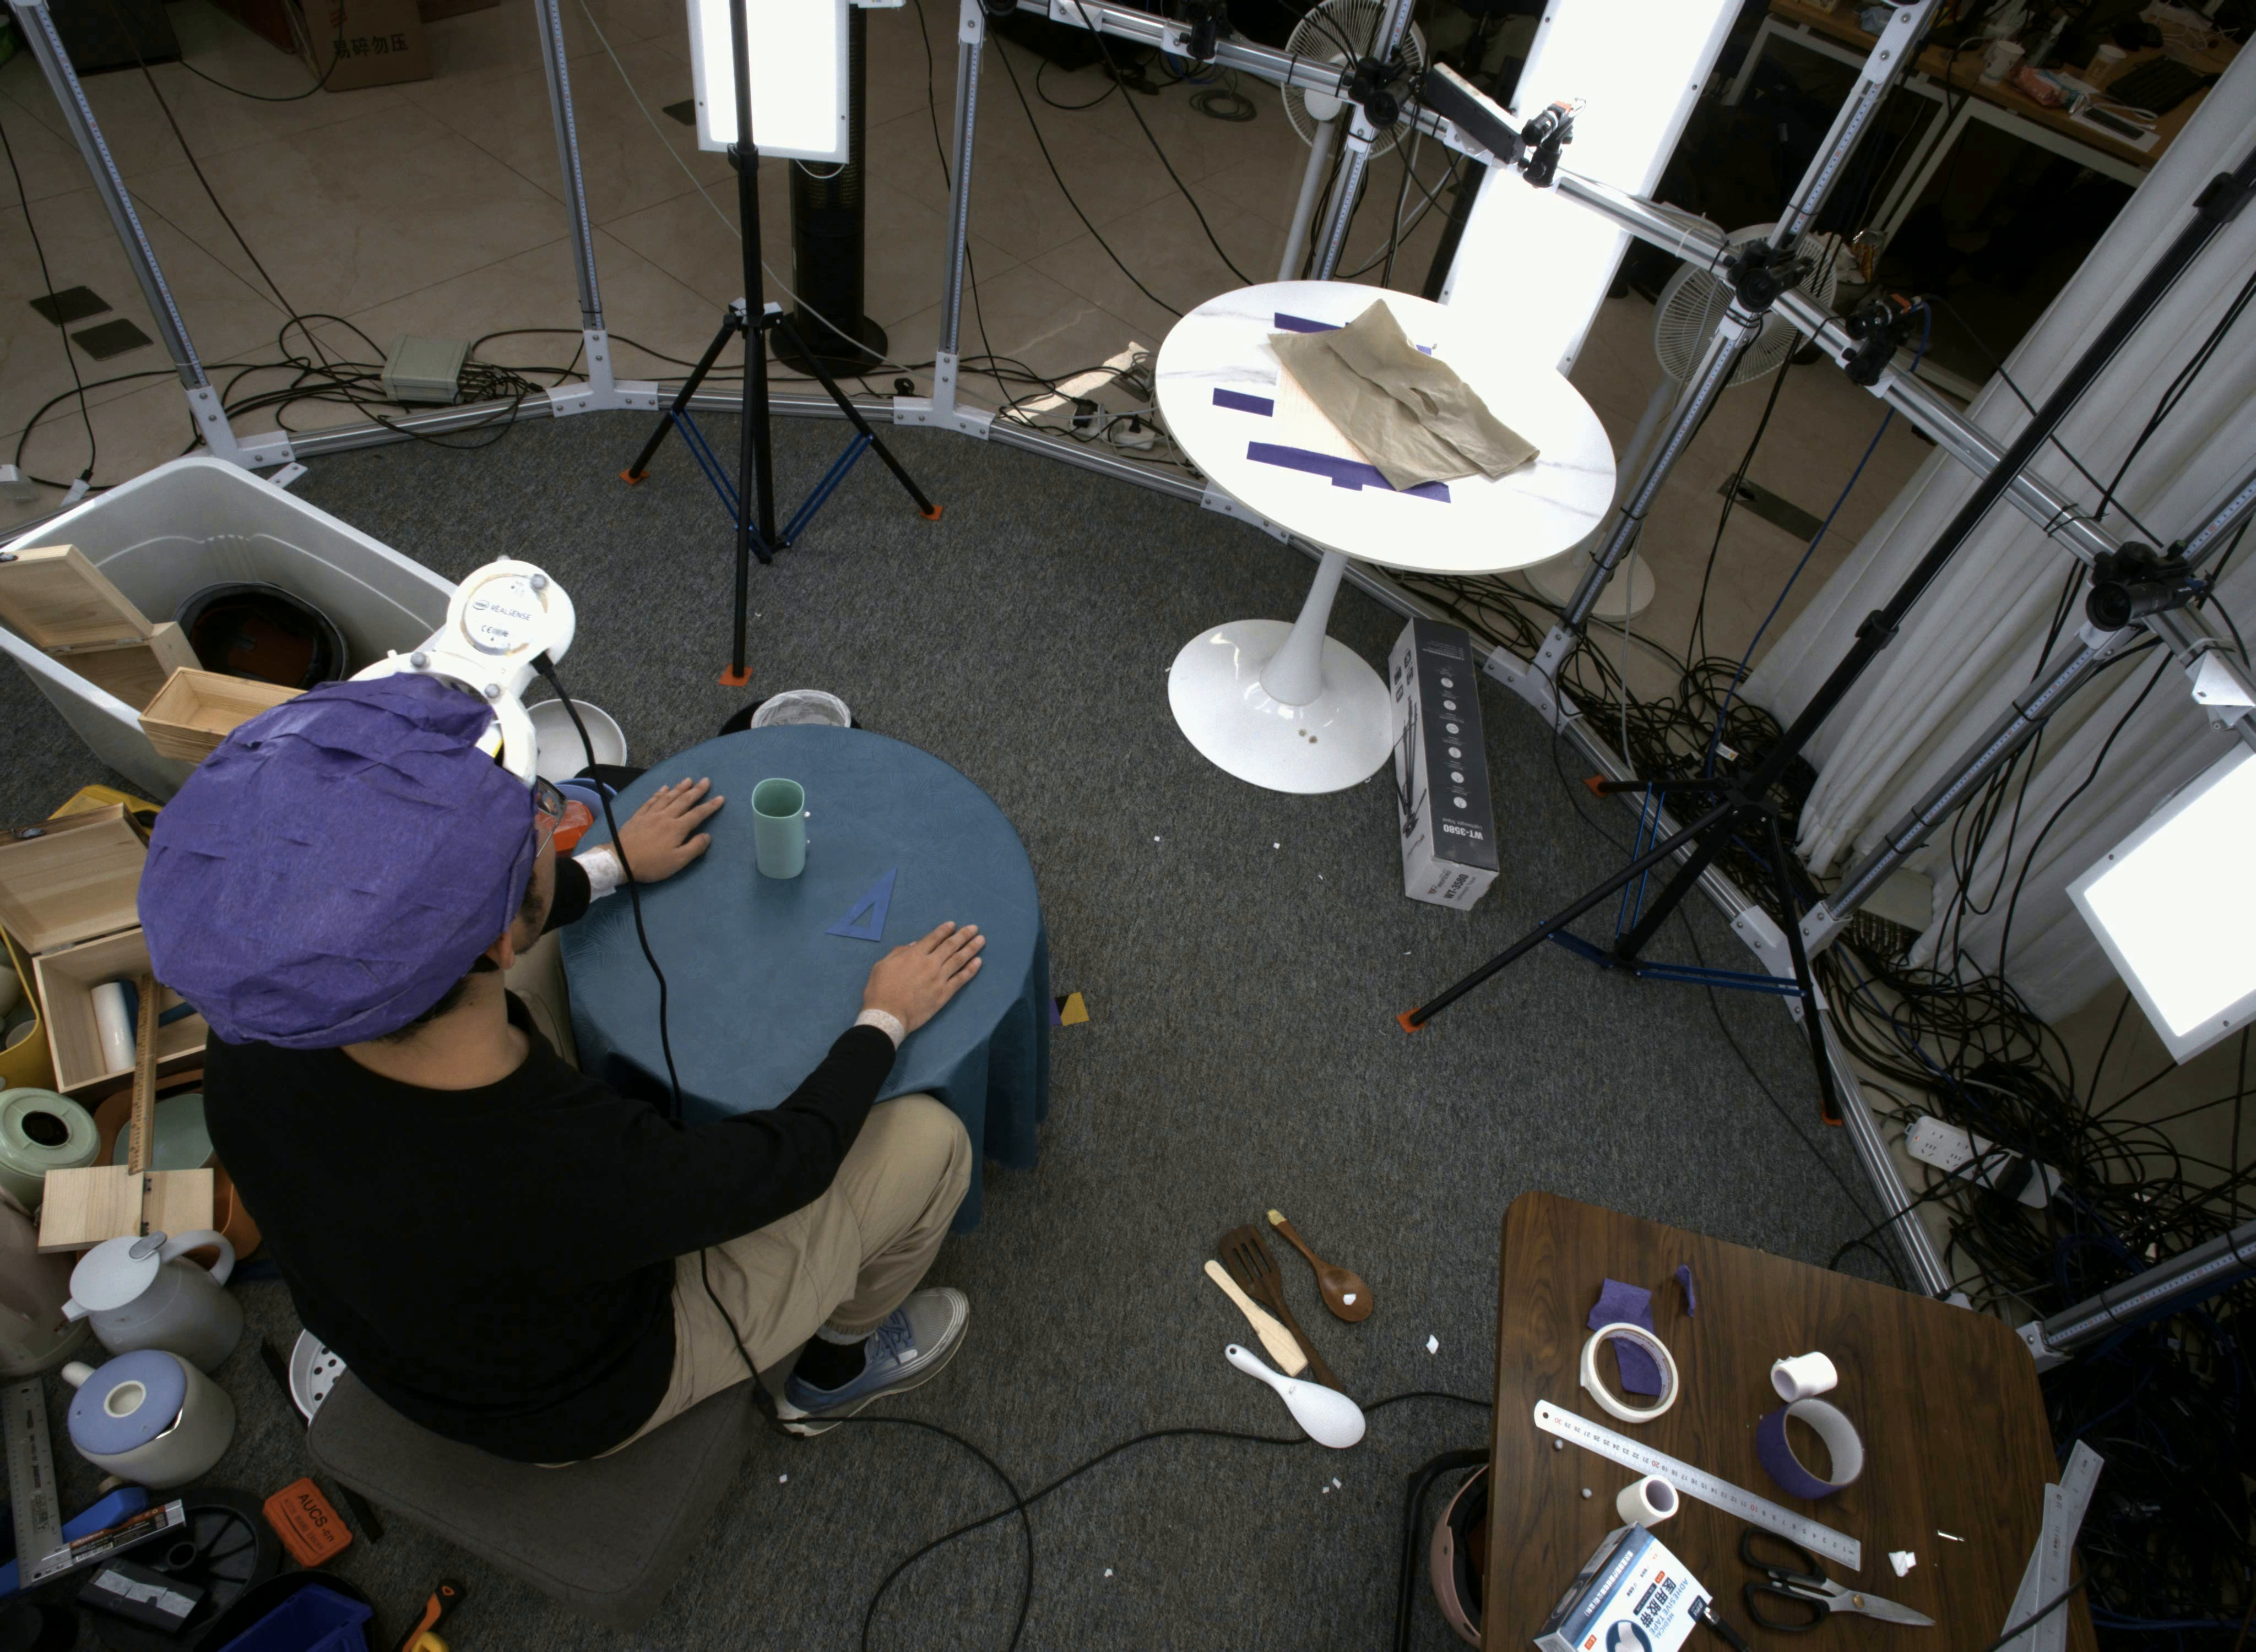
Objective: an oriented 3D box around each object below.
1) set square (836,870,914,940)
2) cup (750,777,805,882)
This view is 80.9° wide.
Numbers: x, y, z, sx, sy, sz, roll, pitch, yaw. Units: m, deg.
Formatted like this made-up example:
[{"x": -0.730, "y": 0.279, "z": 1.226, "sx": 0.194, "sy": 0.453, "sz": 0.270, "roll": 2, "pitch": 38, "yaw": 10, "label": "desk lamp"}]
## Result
[{"x": -0.308, "y": 0.105, "z": 1.668, "sx": 0.060, "sy": 0.007, "sz": 0.132, "roll": 36, "pitch": 53, "yaw": 16, "label": "set square"}, {"x": -0.440, "y": 0.006, "z": 1.630, "sx": 0.066, "sy": 0.135, "sz": 0.065, "roll": 7, "pitch": 51, "yaw": -7, "label": "cup"}]
